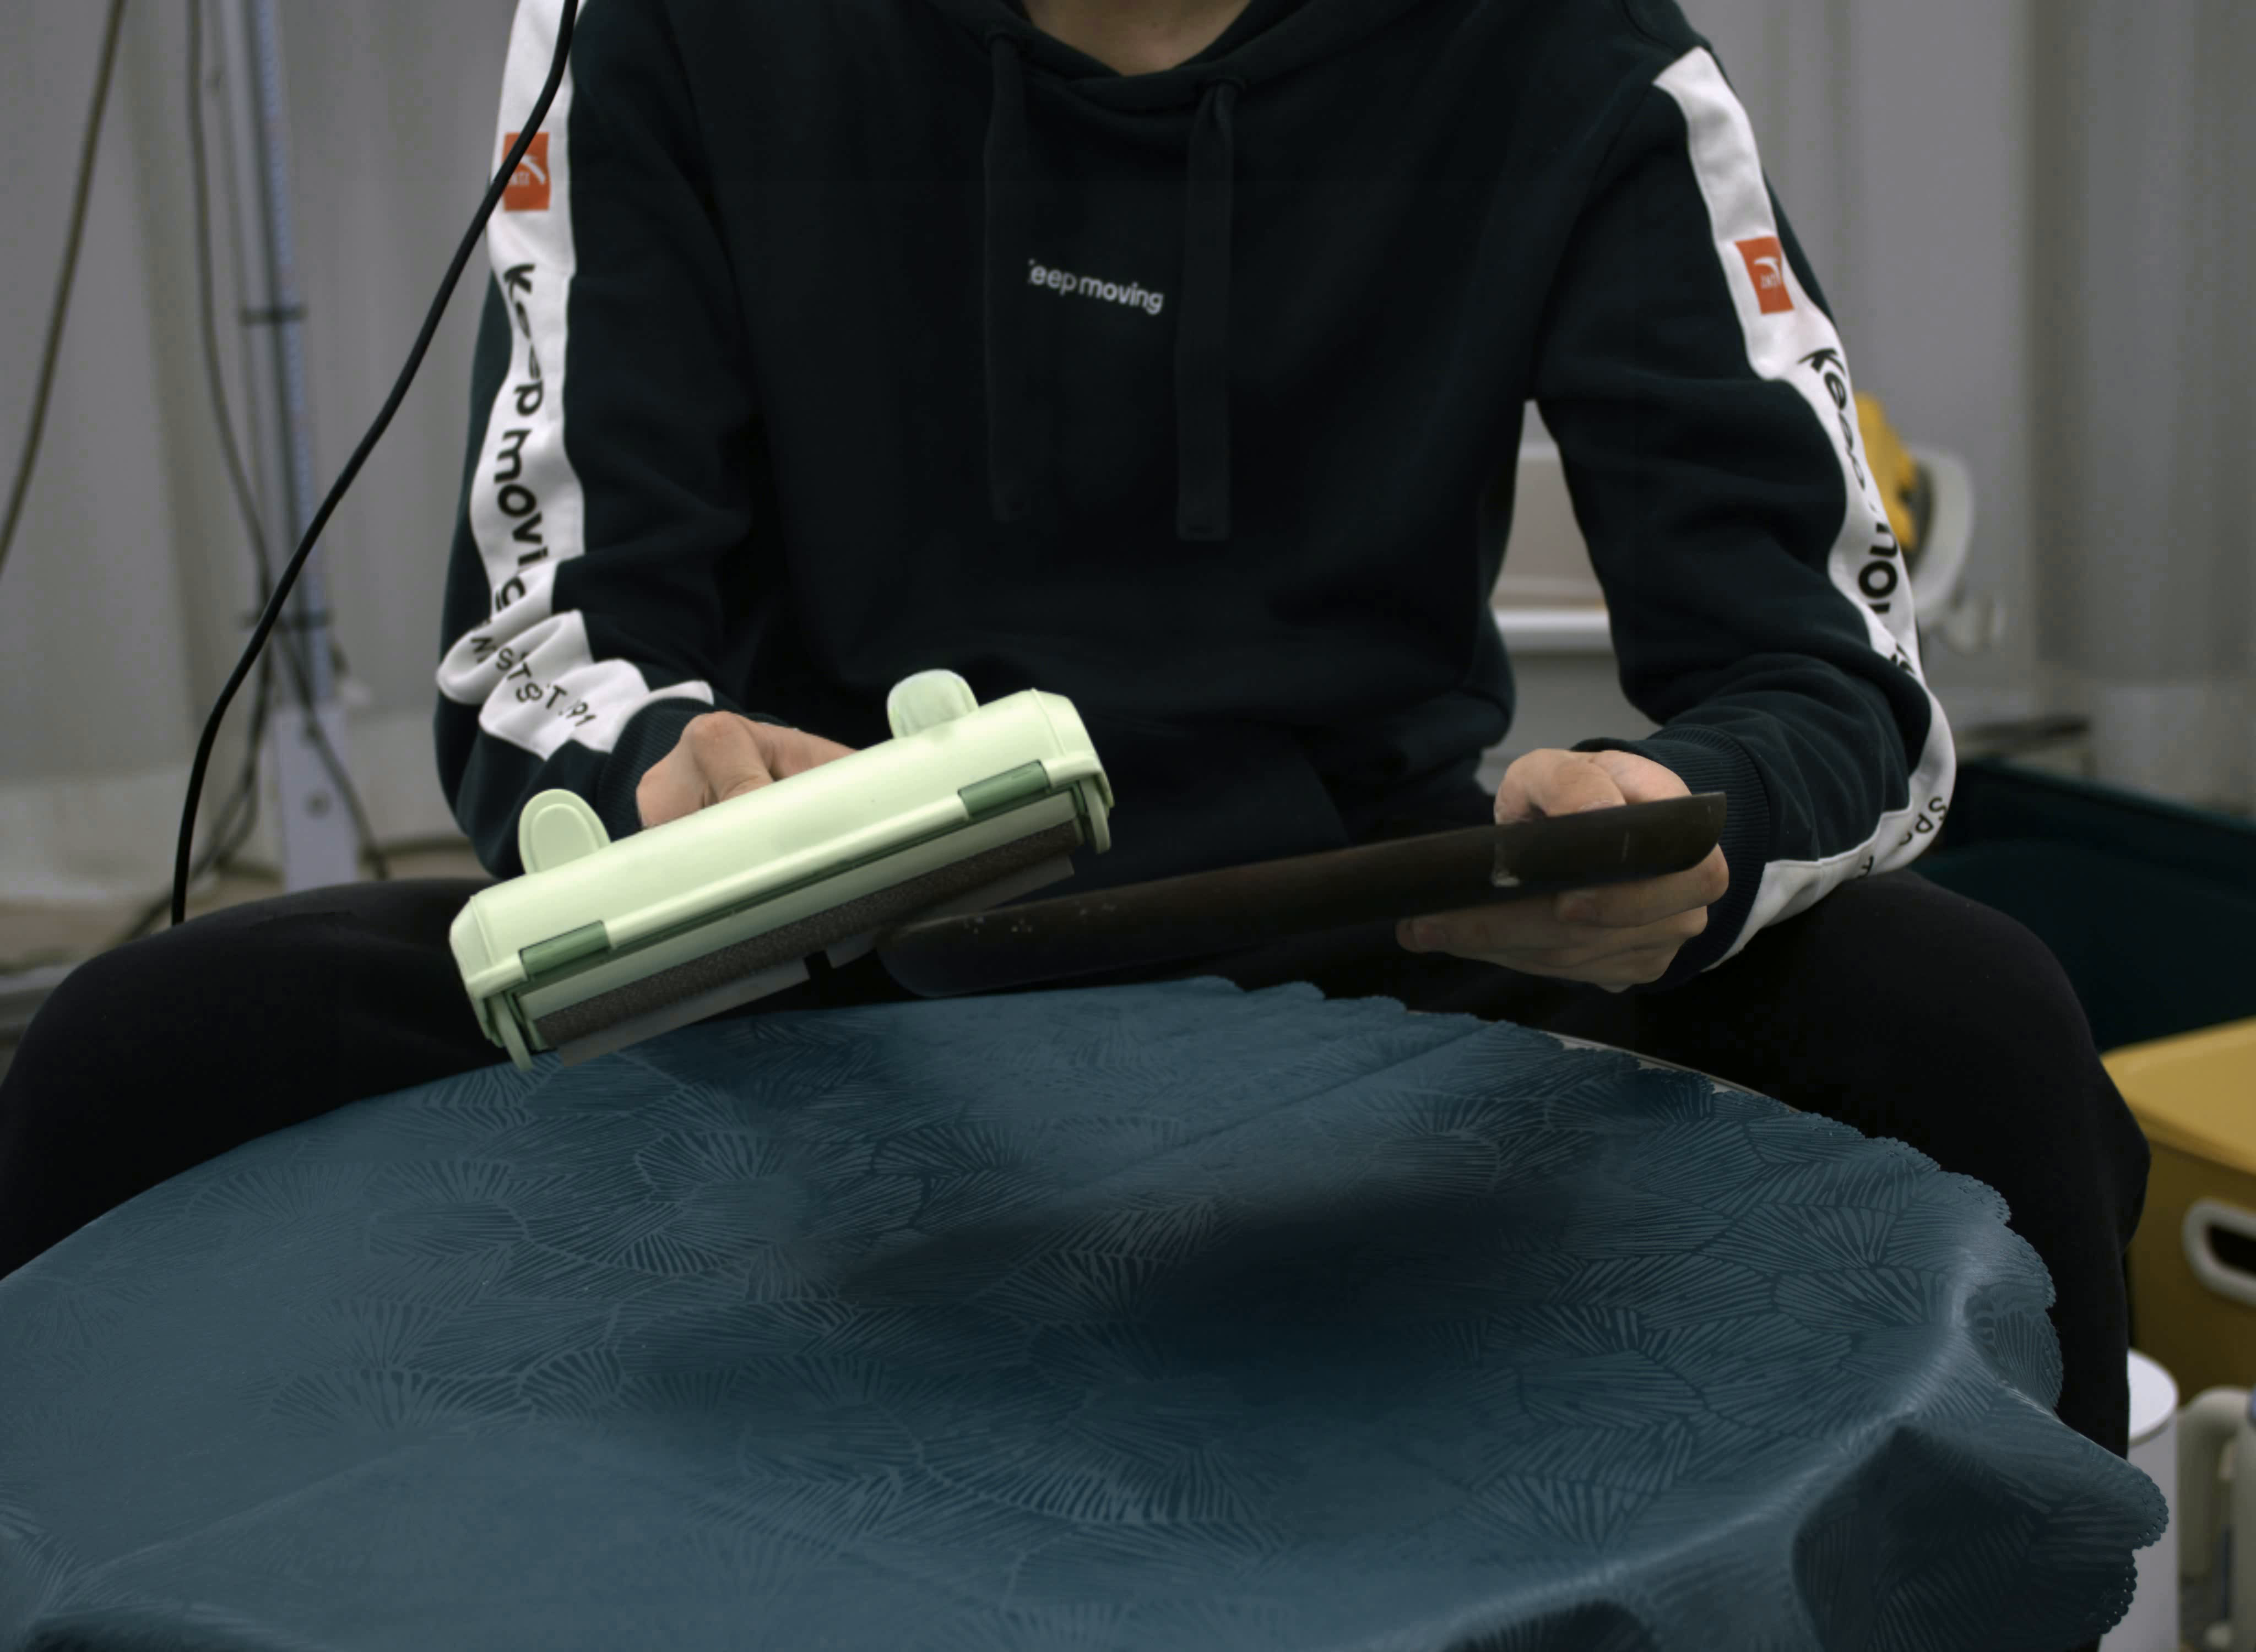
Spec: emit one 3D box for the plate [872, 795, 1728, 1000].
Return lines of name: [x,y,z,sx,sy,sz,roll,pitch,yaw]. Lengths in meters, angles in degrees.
plate: [0.051,0.020,1.595,0.254,0.029,0.254,-11,-1,-1]

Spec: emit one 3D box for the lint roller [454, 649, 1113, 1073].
lint roller: [-0.112,-0.004,1.667,0.198,0.082,0.184,-21,16,-5]
